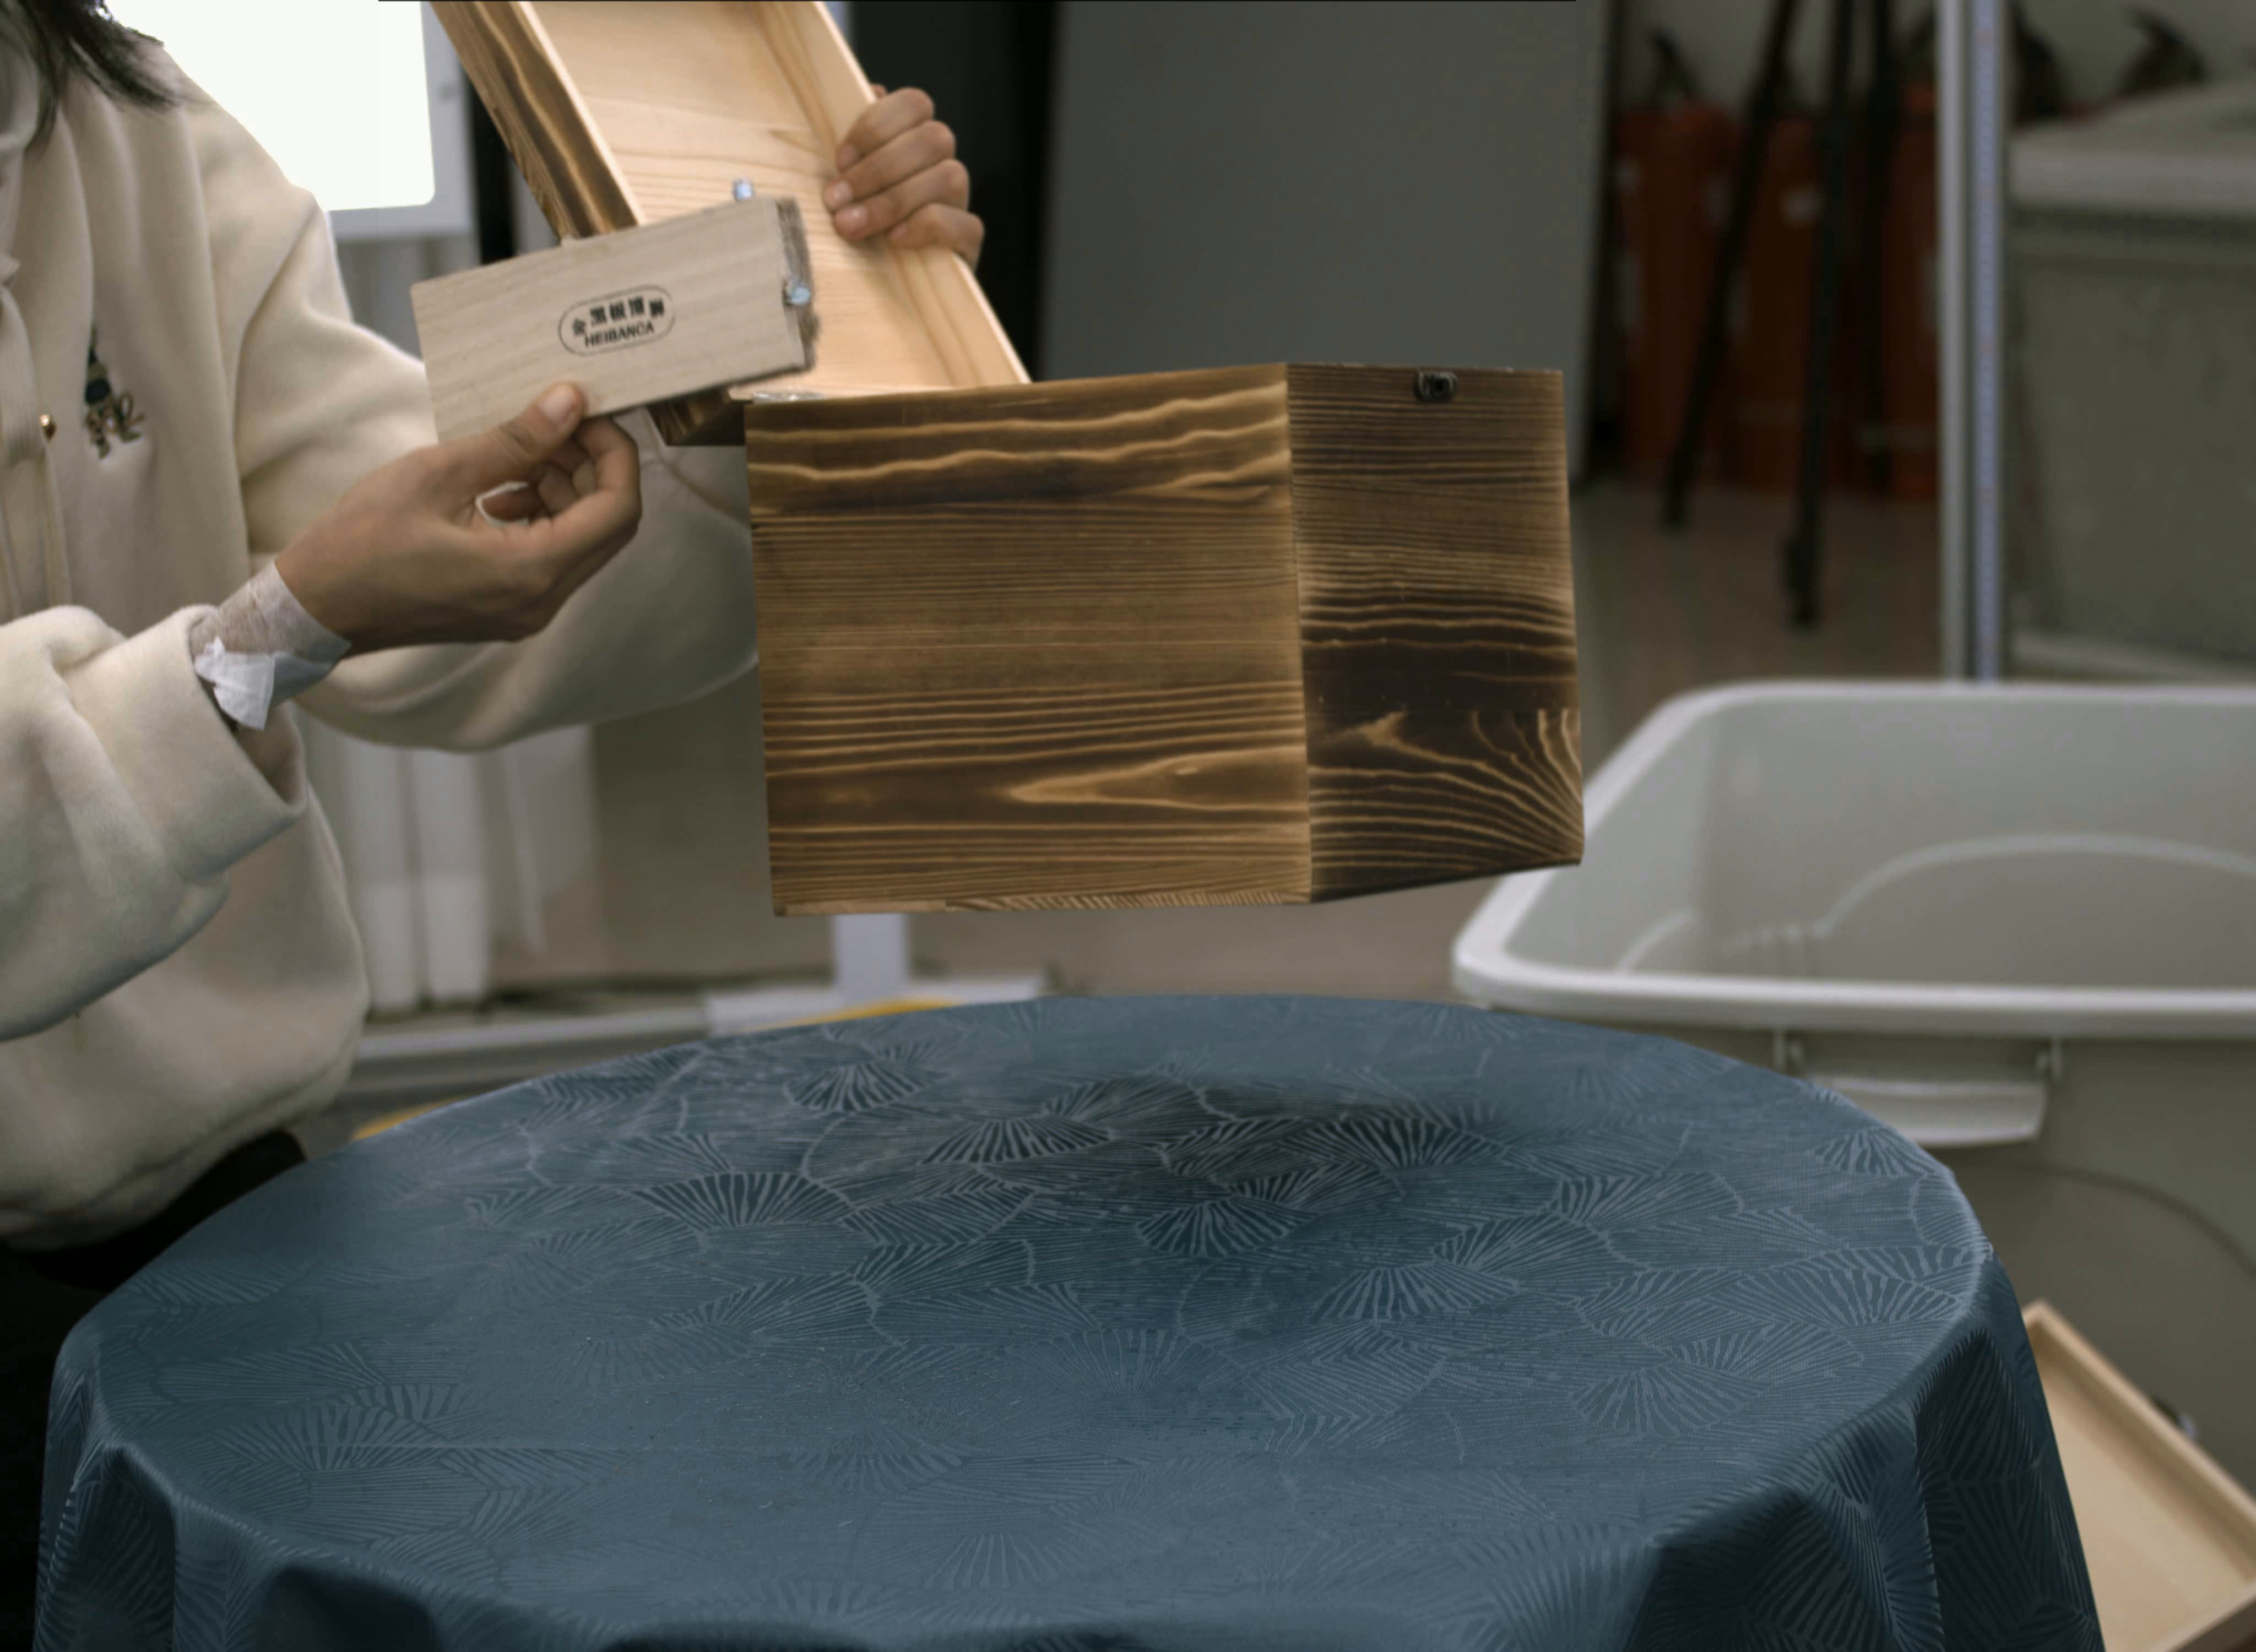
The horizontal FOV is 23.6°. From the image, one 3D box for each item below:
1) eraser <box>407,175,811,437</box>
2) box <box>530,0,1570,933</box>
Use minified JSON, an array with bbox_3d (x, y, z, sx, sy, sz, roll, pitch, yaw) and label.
[{"bbox_3d":[-0.167,-0.168,1.757,0.140,0.058,0.028,-12,-3,31],"label":"eraser"},{"bbox_3d":[-0.035,-0.160,1.805,0.323,0.380,0.205,-1,3,30],"label":"box"}]
